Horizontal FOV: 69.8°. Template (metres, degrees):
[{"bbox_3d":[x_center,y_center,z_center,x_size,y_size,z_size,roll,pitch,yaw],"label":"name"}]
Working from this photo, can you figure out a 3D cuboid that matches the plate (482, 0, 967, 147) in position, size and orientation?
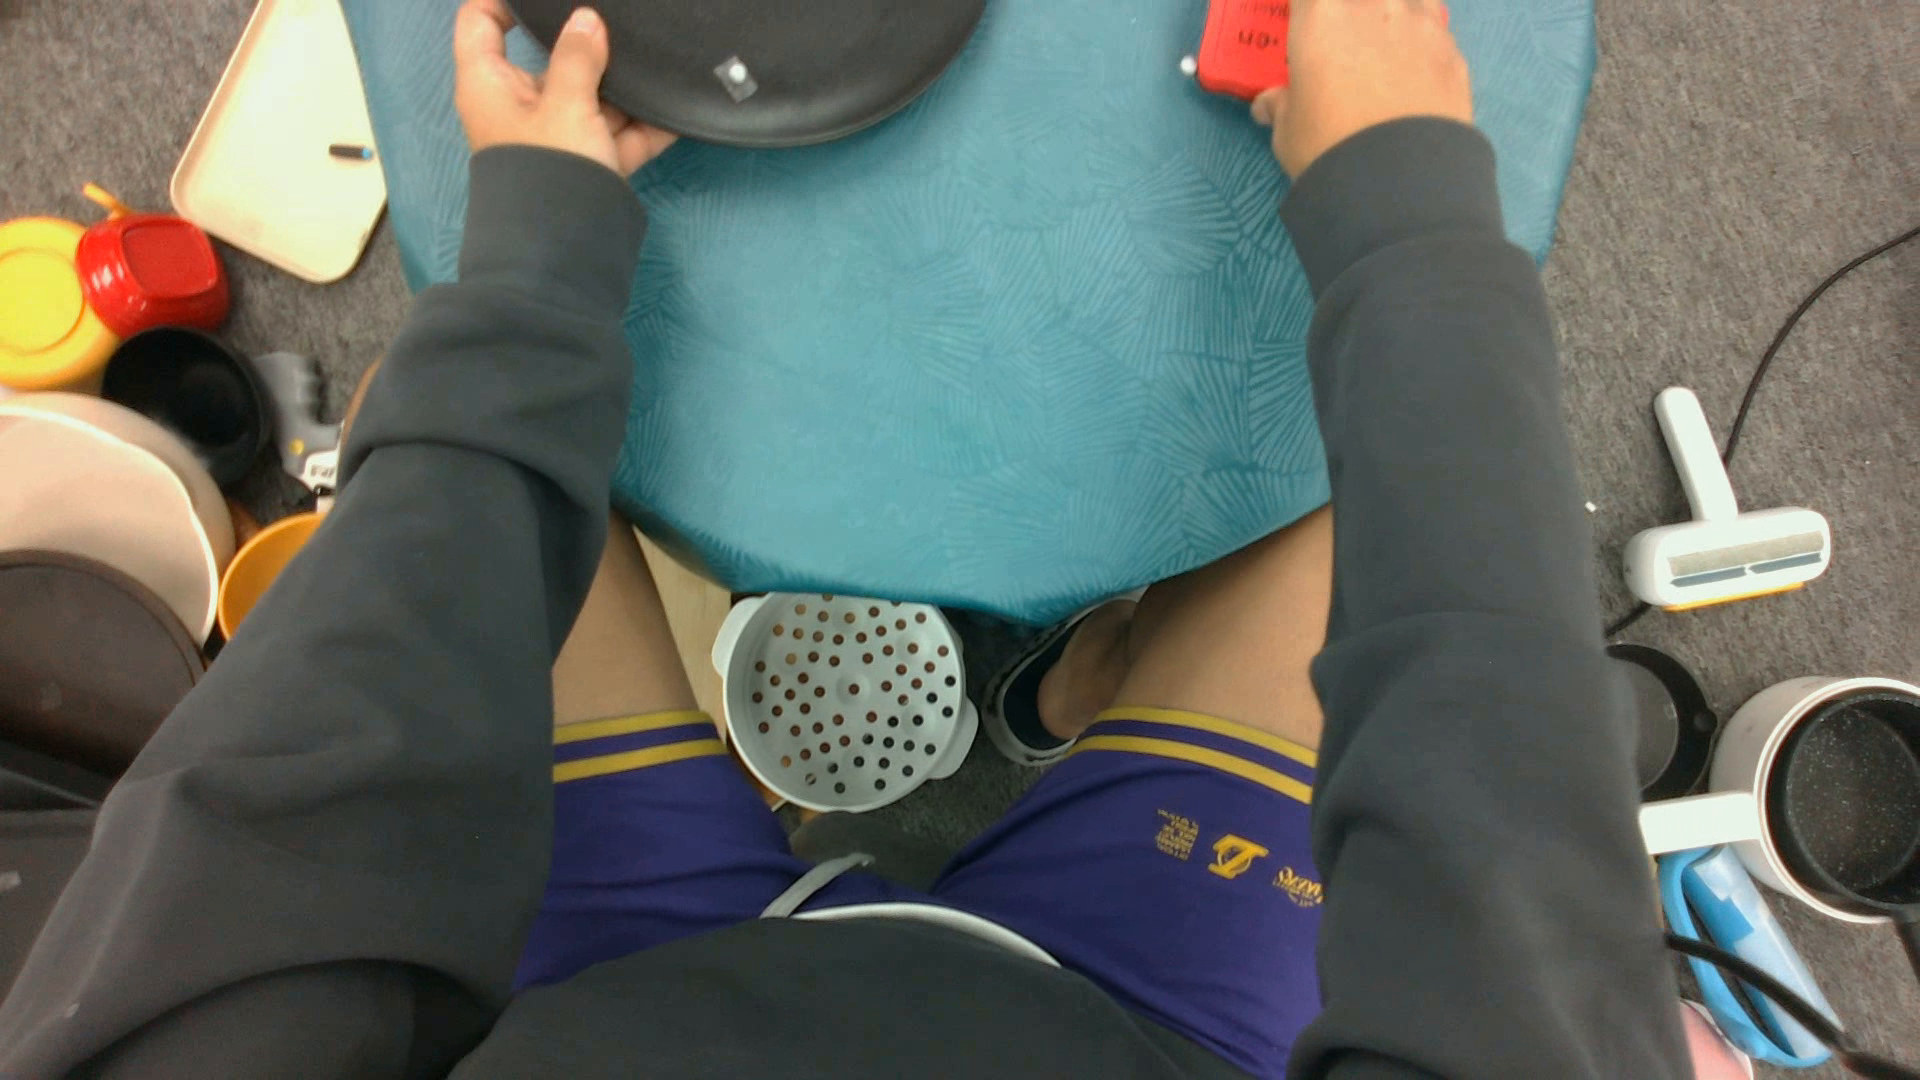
[{"bbox_3d":[-0.109,-0.297,0.631,0.245,0.023,0.244,1,85,-14],"label":"plate"}]

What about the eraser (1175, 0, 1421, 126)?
[{"bbox_3d":[0.159,-0.235,0.653,0.108,0.023,0.059,12,89,0],"label":"eraser"}]
